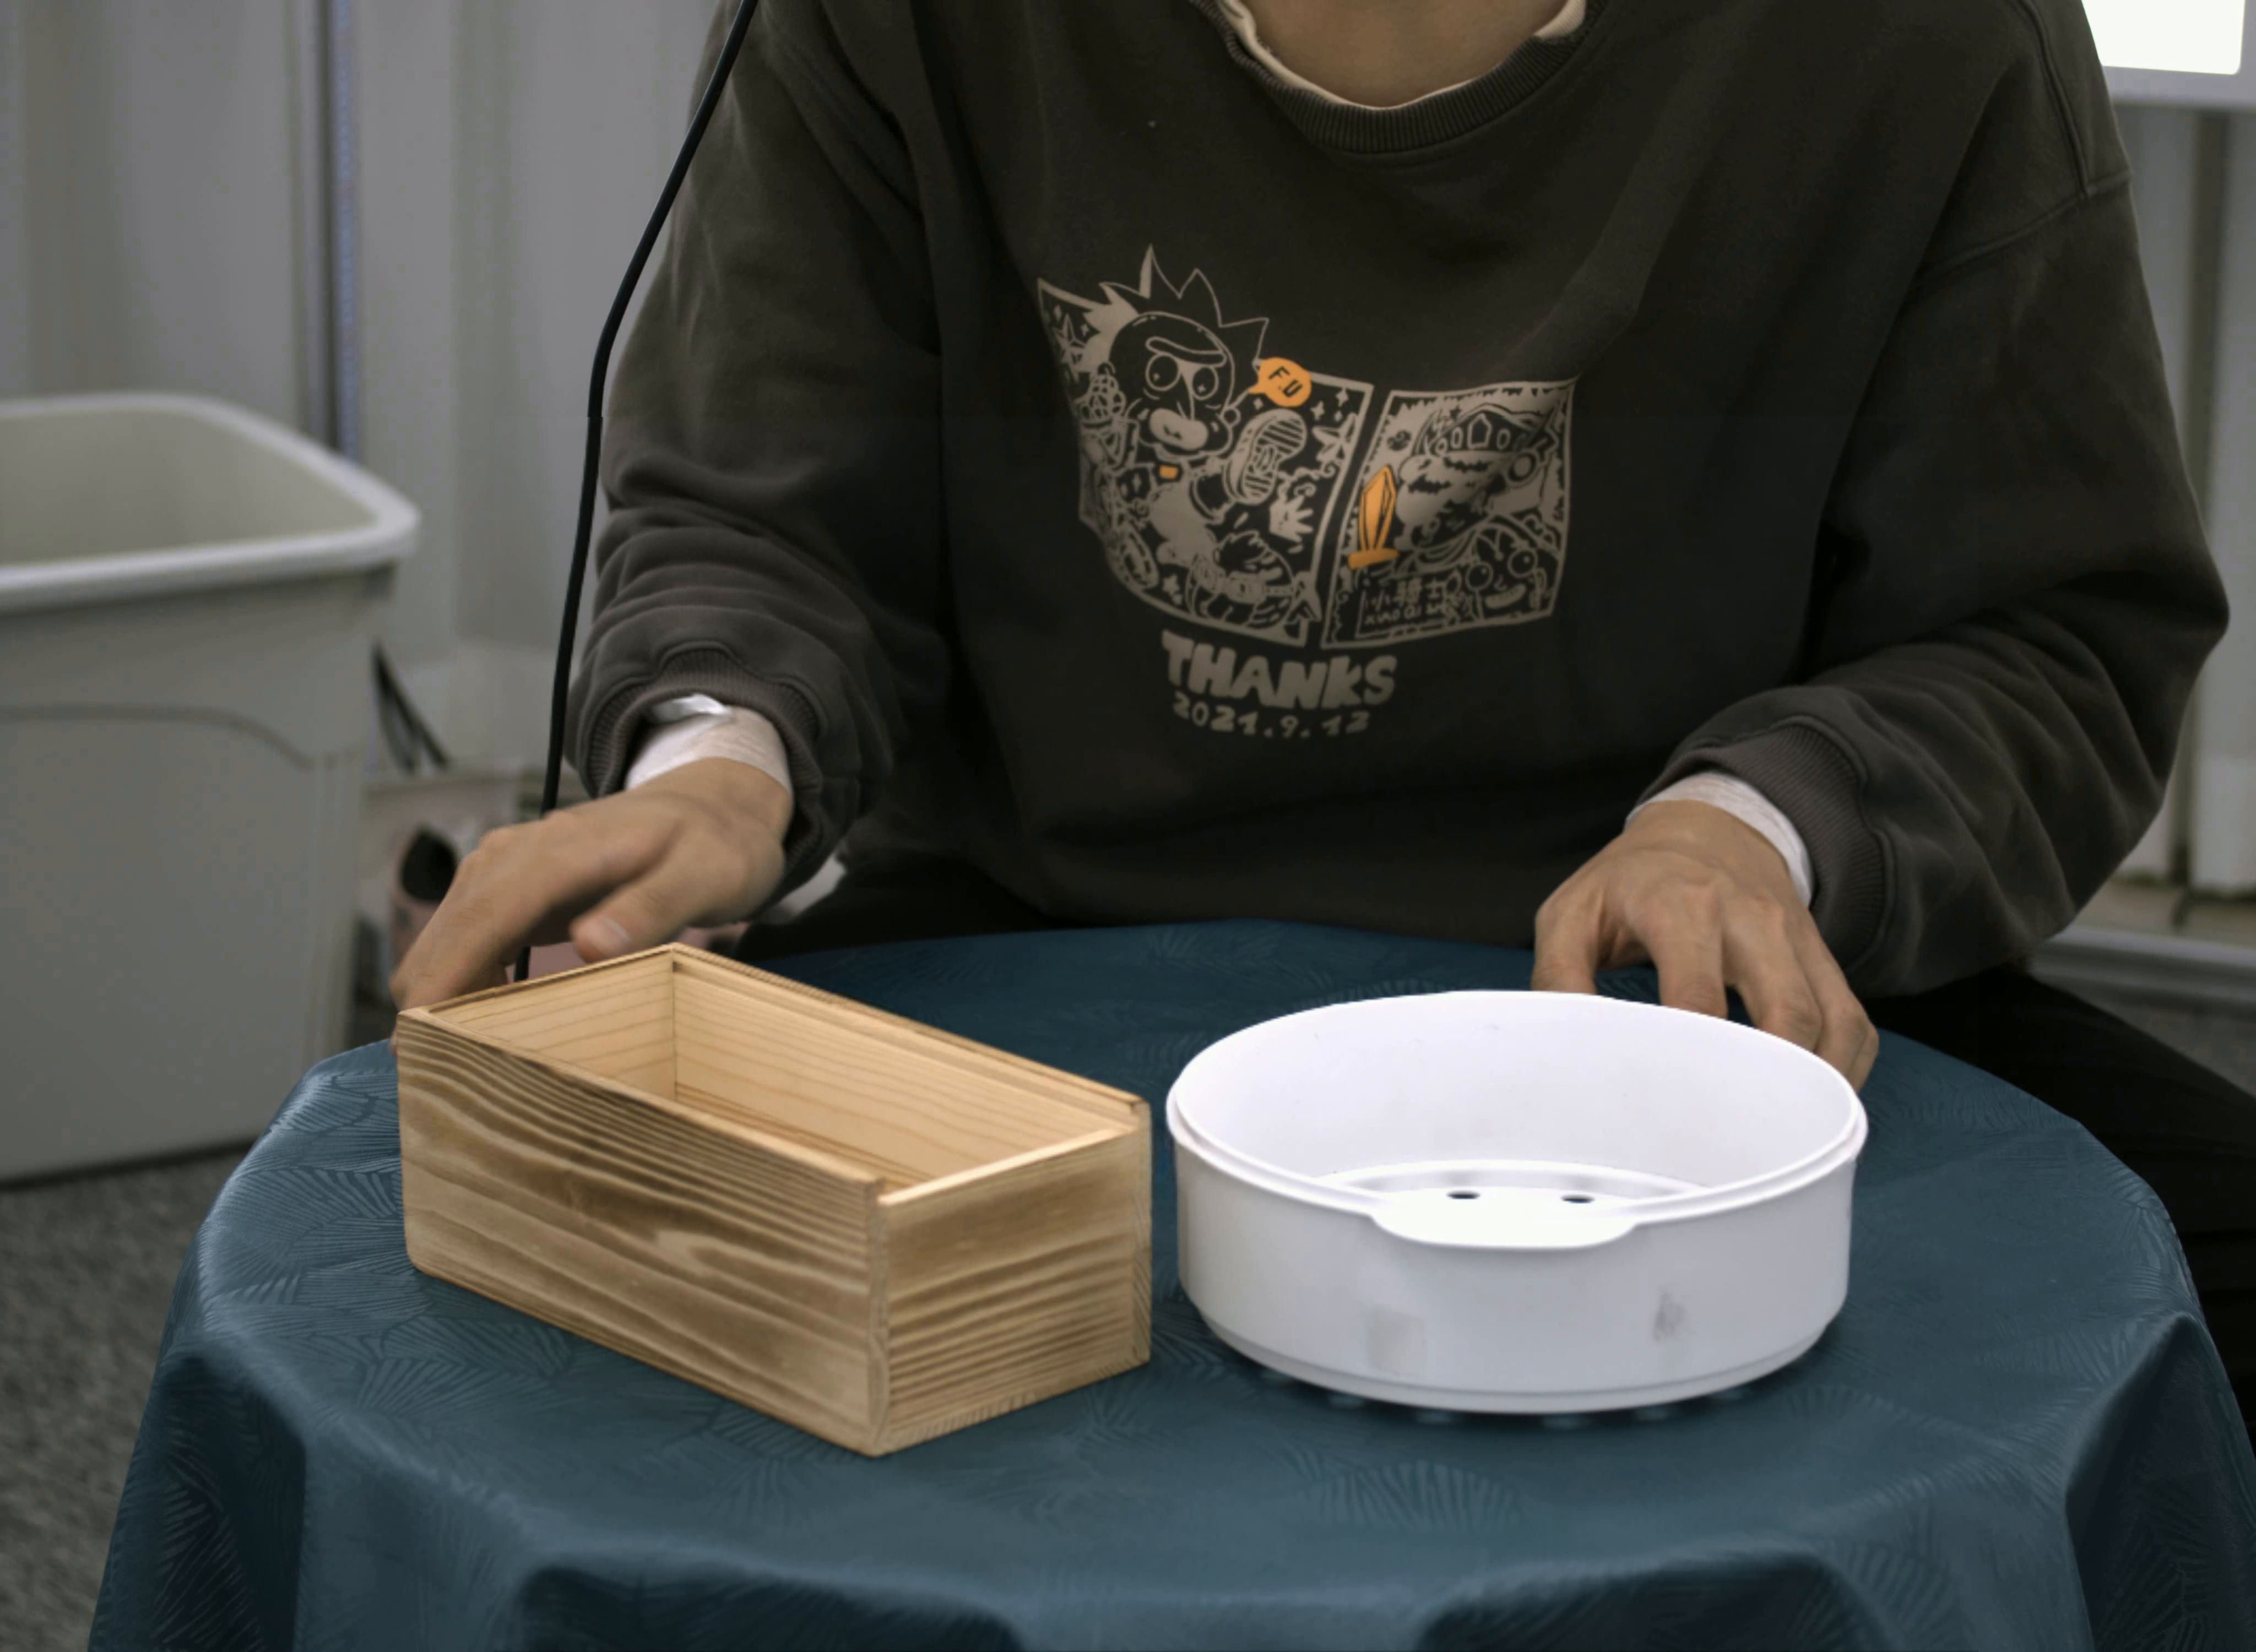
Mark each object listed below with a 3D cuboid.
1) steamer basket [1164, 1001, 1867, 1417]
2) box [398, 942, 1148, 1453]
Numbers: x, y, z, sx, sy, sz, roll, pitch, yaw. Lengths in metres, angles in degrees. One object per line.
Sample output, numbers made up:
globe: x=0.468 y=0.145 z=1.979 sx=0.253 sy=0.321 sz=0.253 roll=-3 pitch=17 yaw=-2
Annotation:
steamer basket: x=0.110 y=0.109 z=1.518 sx=0.201 sy=0.070 sz=0.230 roll=2 pitch=15 yaw=5
box: x=-0.105 y=0.102 z=1.513 sx=0.108 sy=0.081 sz=0.208 roll=-14 pitch=21 yaw=-43
